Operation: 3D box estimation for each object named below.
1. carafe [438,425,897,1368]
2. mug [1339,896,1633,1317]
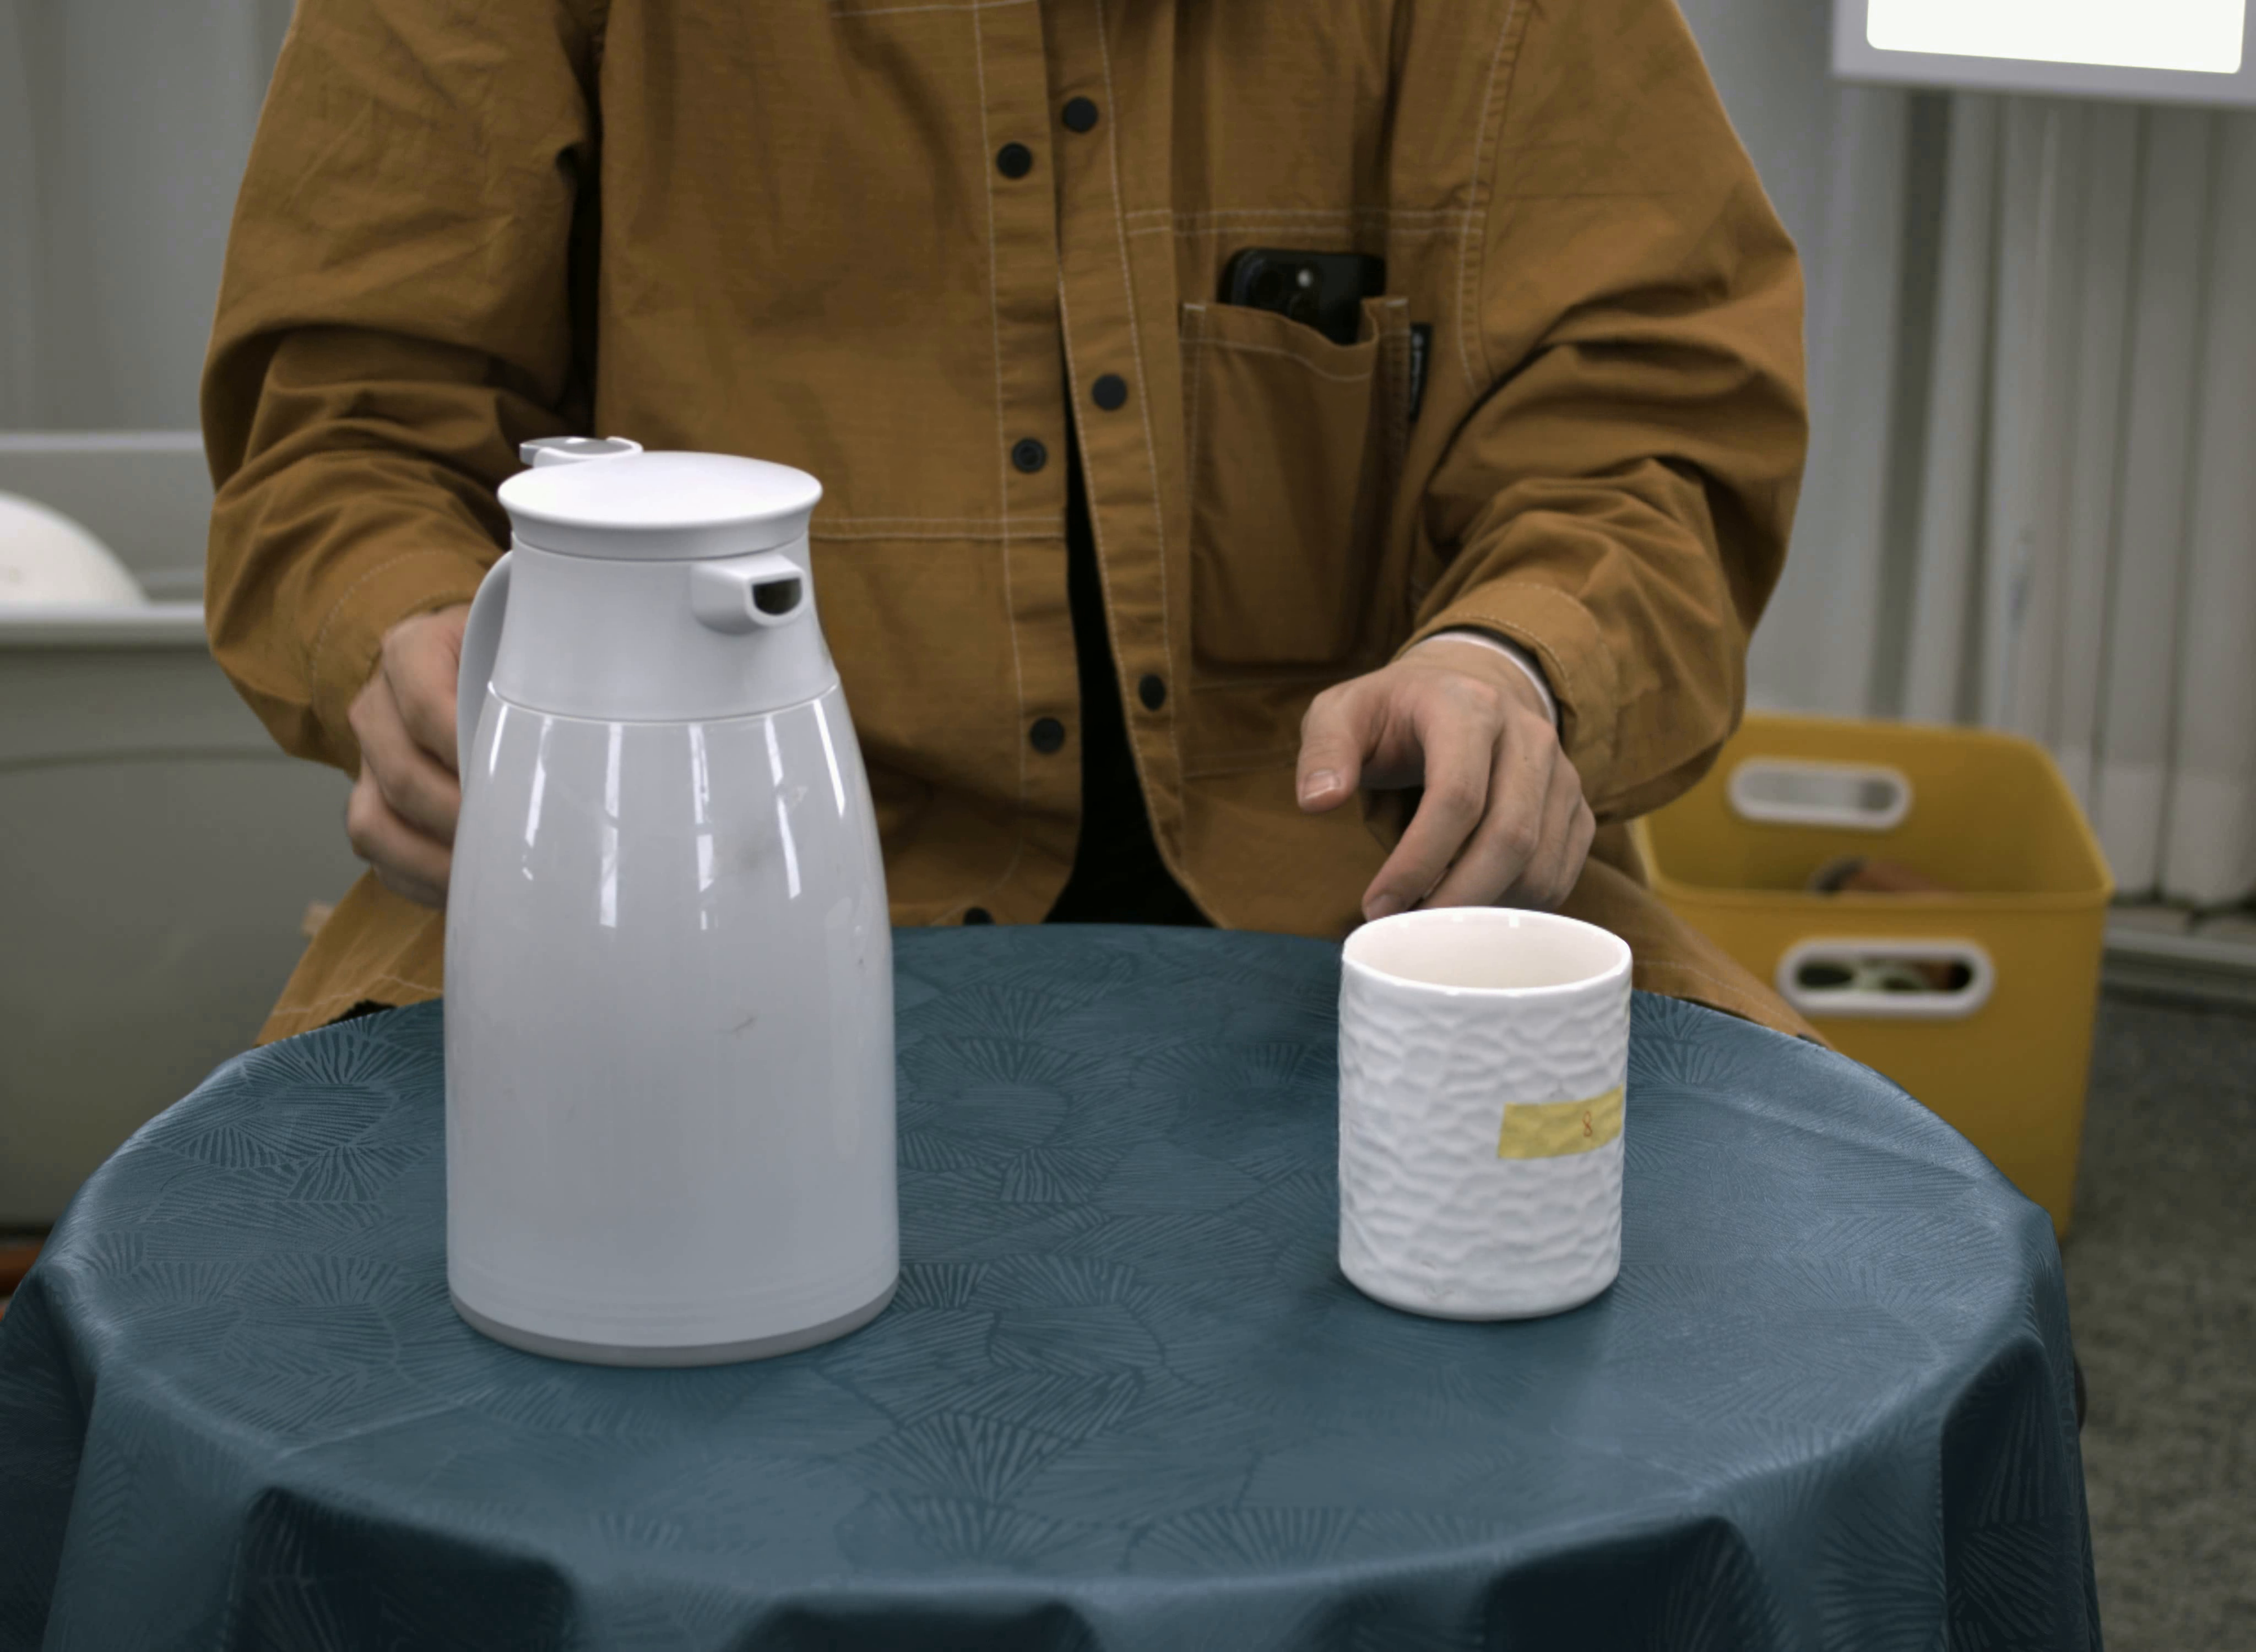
[{"bbox_3d":[-0.145,0.012,1.515,0.133,0.250,0.165,-13,20,-36],"label":"carafe"},{"bbox_3d":[0.099,0.077,1.551,0.085,0.103,0.117,-5,18,-16],"label":"mug"}]
